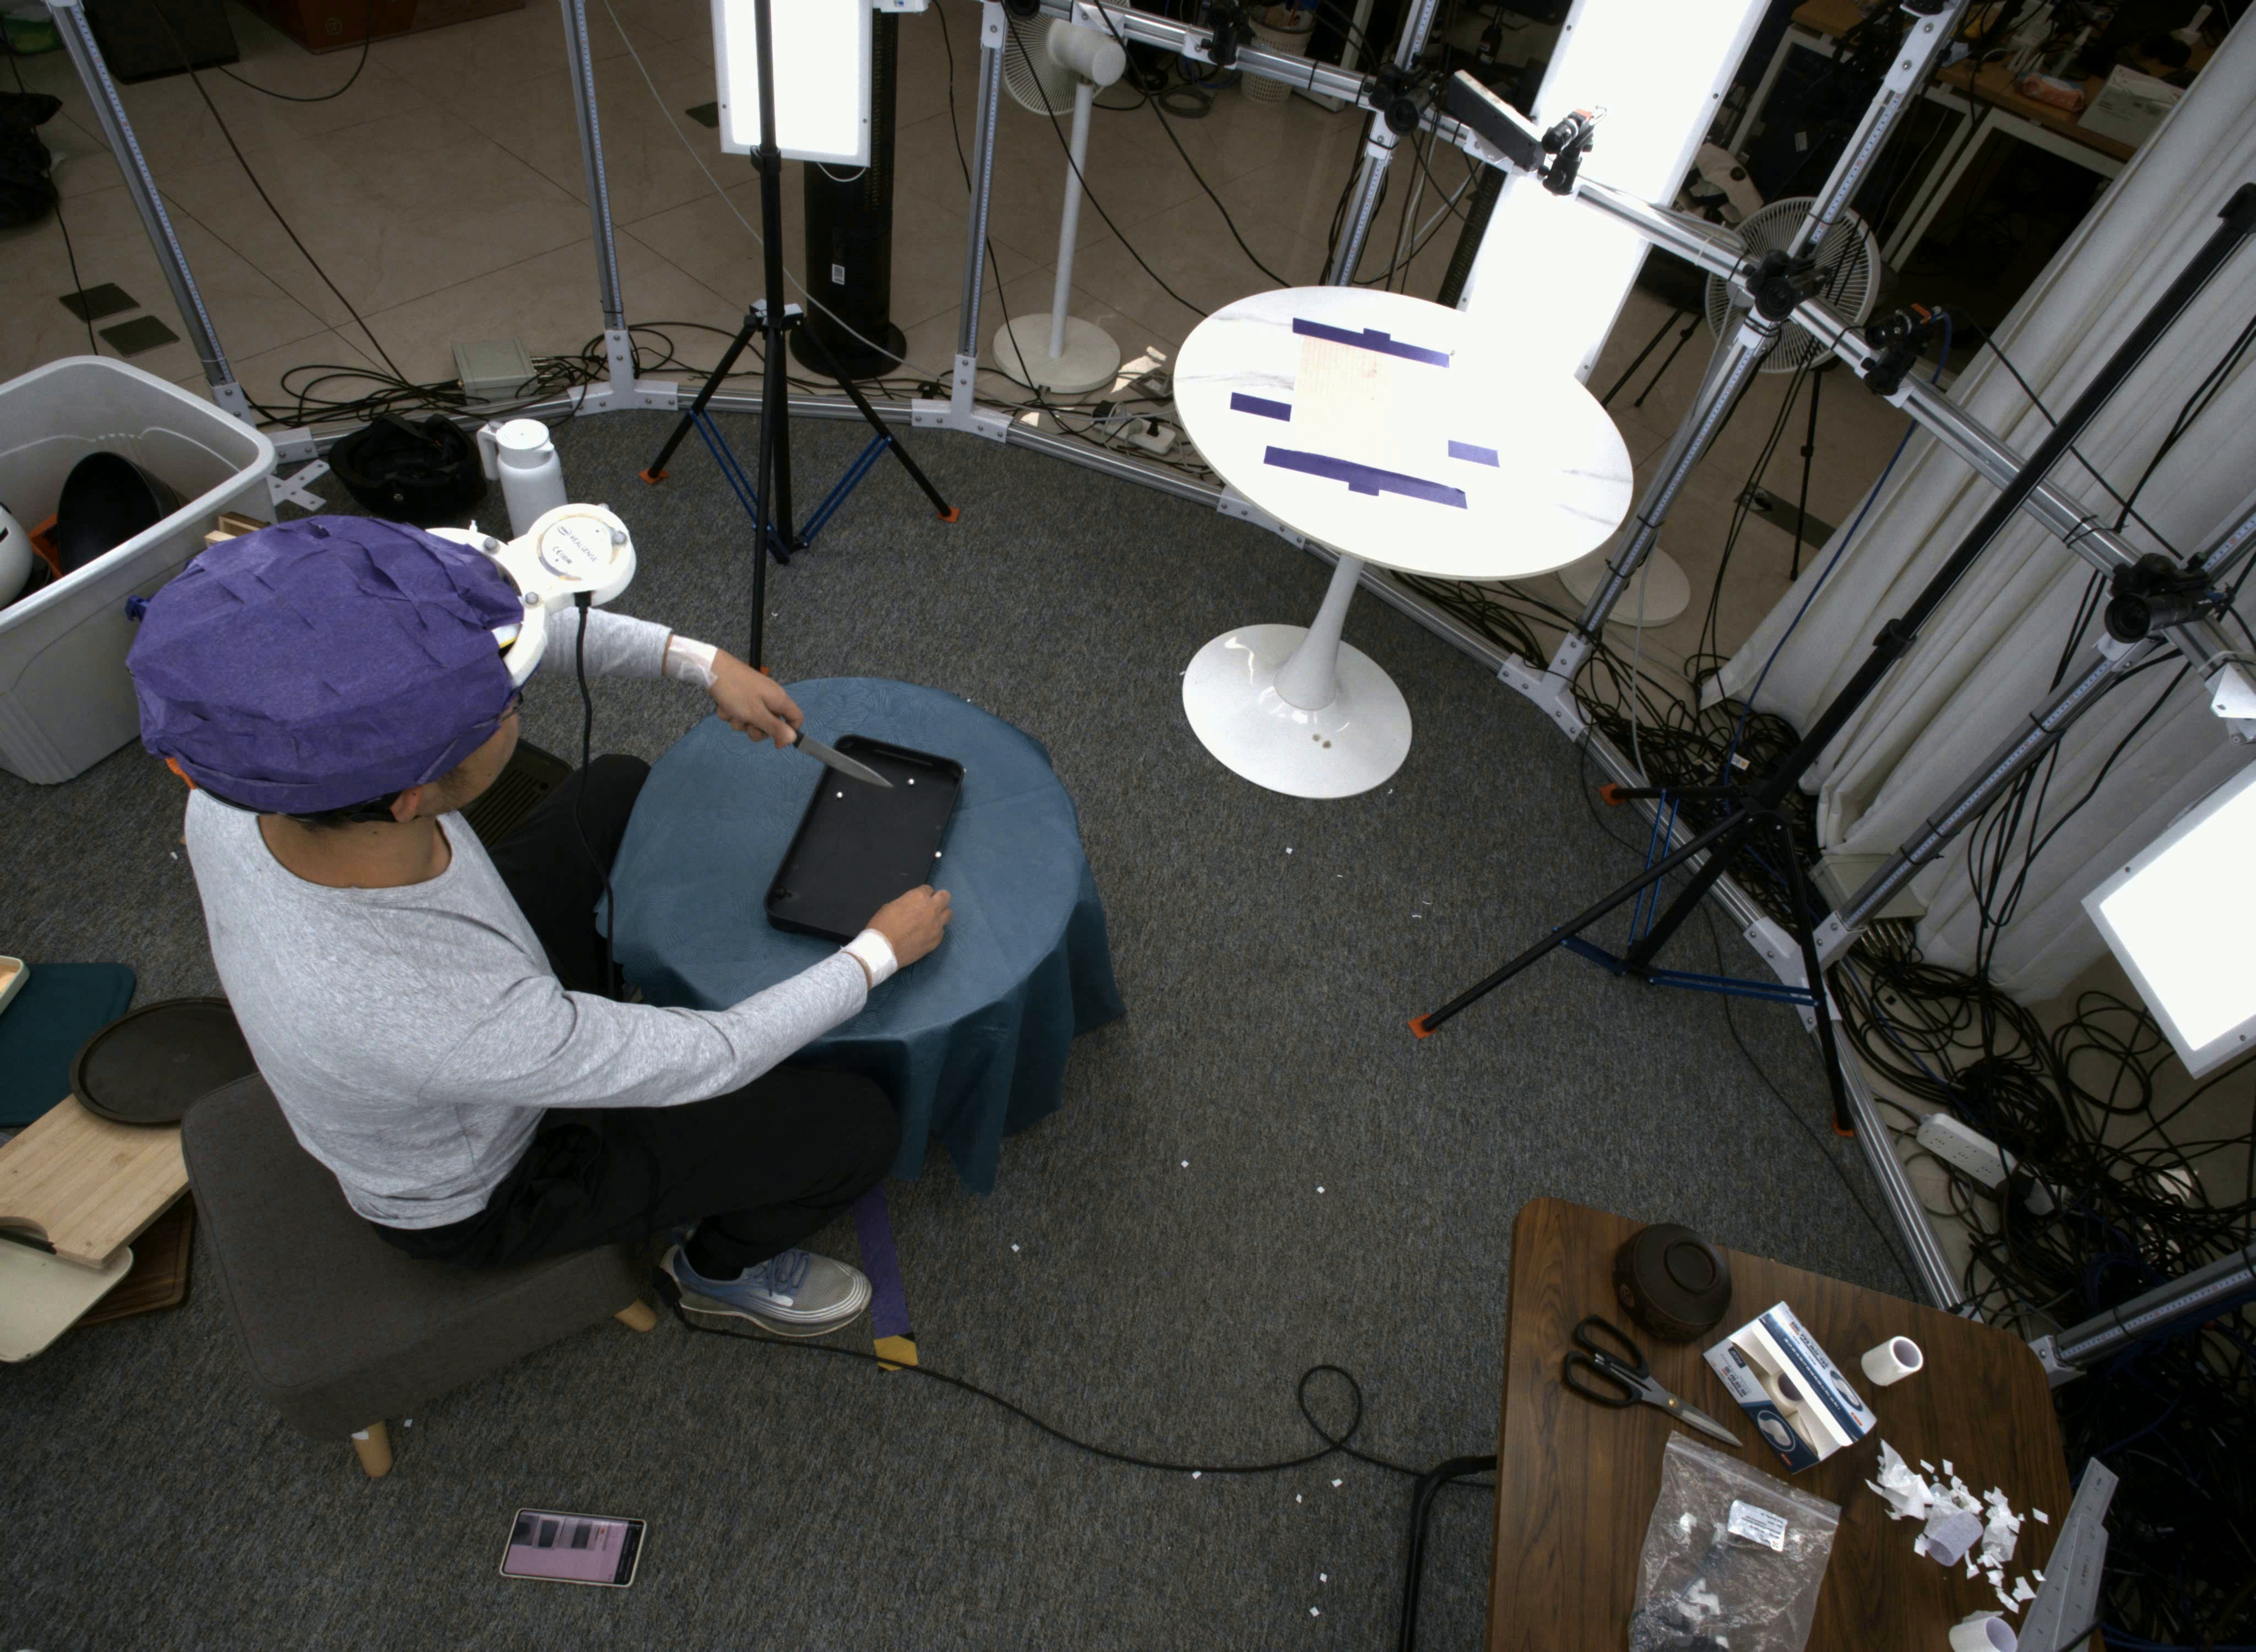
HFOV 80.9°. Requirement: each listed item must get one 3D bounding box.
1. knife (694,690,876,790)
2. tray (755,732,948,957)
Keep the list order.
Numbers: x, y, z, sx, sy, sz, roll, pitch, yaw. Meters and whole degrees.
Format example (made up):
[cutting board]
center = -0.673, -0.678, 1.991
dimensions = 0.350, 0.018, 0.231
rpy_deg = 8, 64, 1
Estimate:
[knife]
center = -0.407, -0.102, 1.553
dimensions = 0.243, 0.024, 0.016
rpy_deg = 29, 22, -22
[tray]
center = -0.359, 0.017, 1.716
dimensions = 0.183, 0.038, 0.313
rpy_deg = 13, 53, -4
